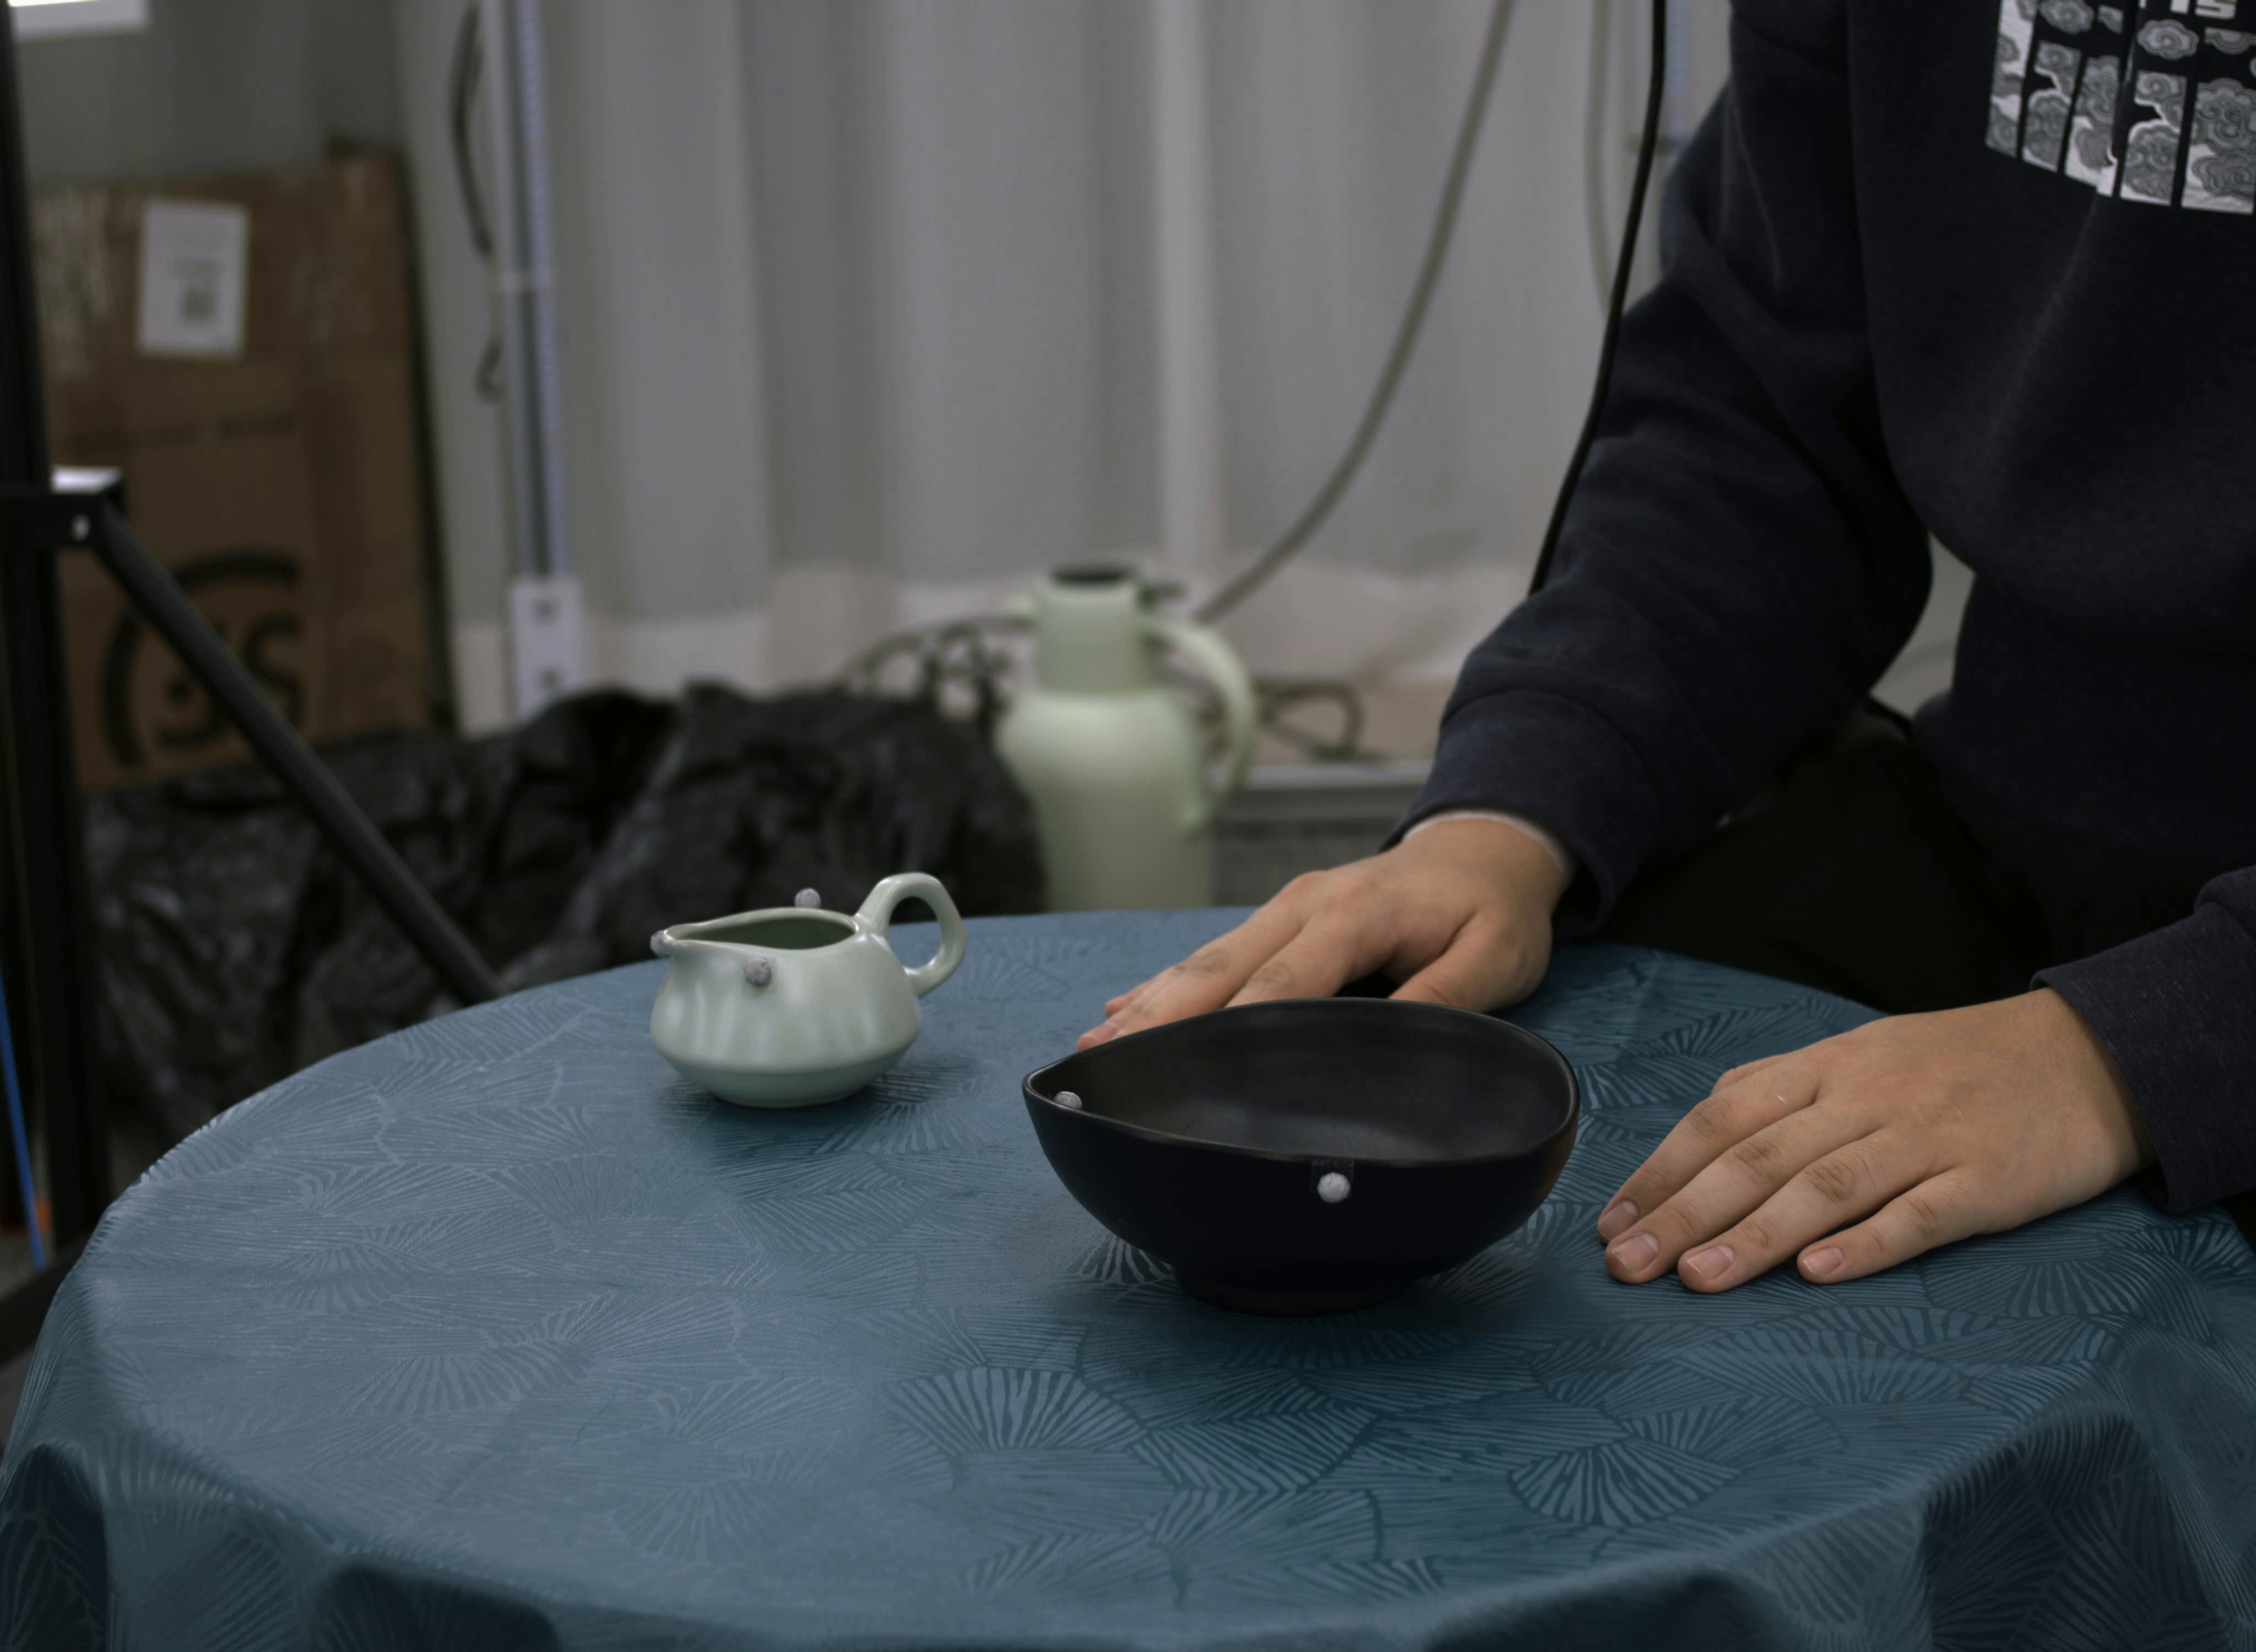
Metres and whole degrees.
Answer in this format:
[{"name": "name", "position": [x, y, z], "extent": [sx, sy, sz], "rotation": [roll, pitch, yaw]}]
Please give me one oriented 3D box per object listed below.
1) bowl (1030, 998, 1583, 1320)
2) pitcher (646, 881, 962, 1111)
[{"name": "bowl", "position": [0.048, 0.097, 1.475], "extent": [0.174, 0.067, 0.134], "rotation": [10, 19, 41]}, {"name": "pitcher", "position": [-0.099, 0.052, 1.667], "extent": [0.105, 0.060, 0.088], "rotation": [-11, 18, -34]}]
